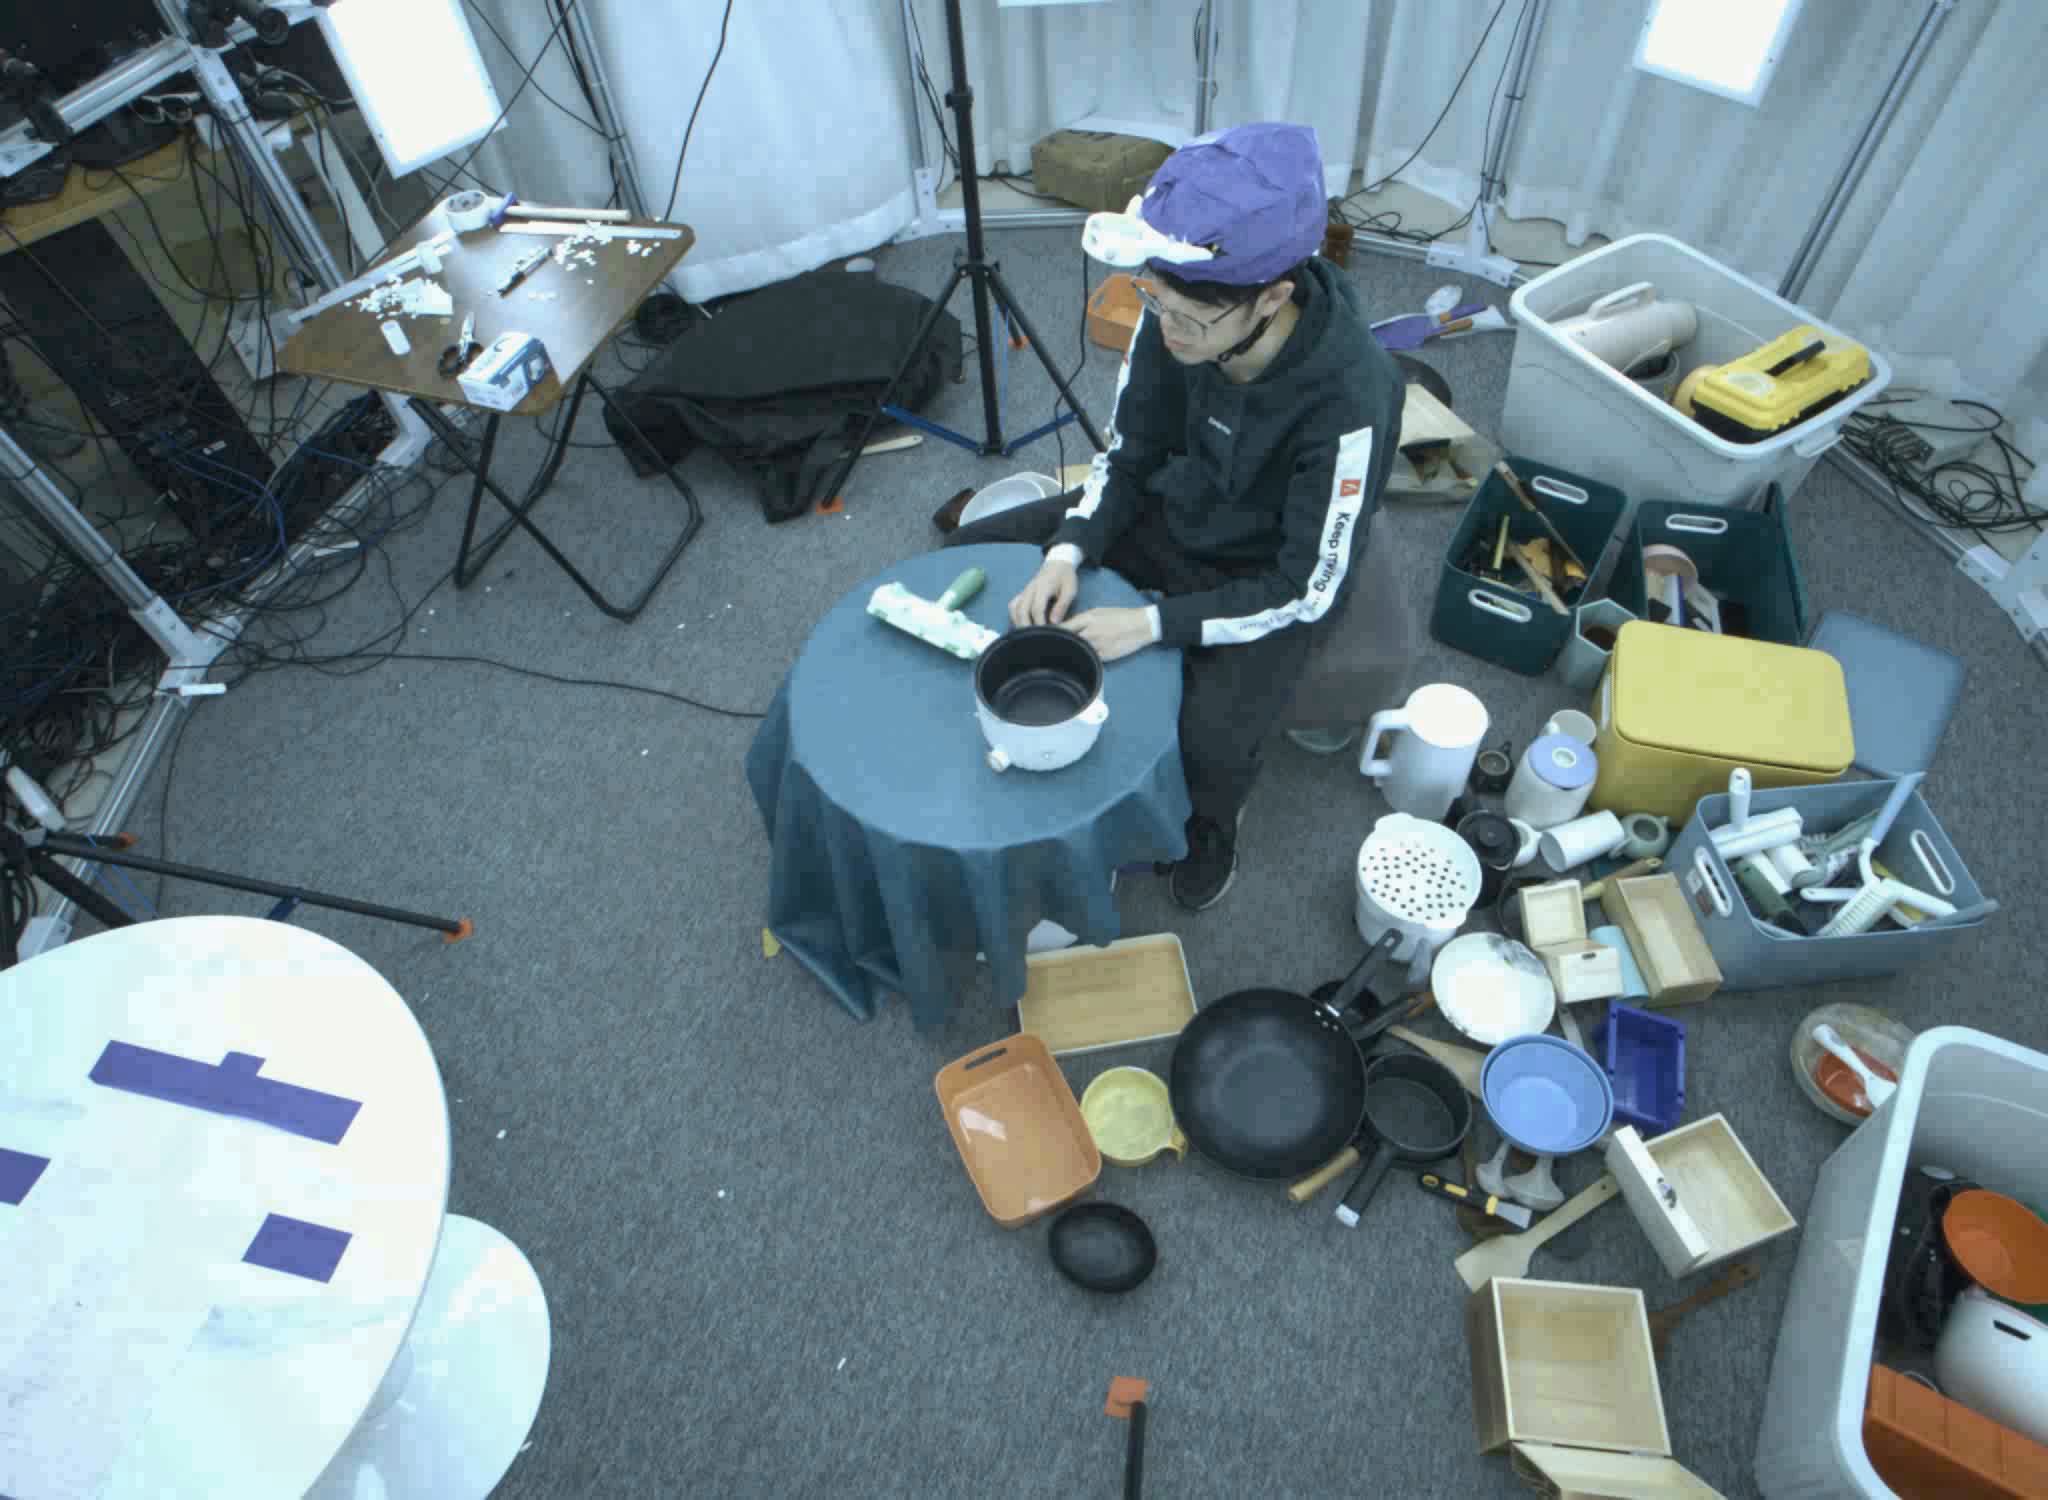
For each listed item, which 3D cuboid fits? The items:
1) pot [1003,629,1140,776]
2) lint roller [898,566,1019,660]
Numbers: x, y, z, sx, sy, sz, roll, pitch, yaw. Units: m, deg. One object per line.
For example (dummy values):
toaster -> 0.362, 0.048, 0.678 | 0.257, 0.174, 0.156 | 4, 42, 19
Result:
pot -> 0.063, -0.056, 1.735 | 0.236, 0.144, 0.192 | 36, 60, 26
lint roller -> -0.070, -0.242, 1.911 | 0.195, 0.083, 0.184 | 29, 66, 21
